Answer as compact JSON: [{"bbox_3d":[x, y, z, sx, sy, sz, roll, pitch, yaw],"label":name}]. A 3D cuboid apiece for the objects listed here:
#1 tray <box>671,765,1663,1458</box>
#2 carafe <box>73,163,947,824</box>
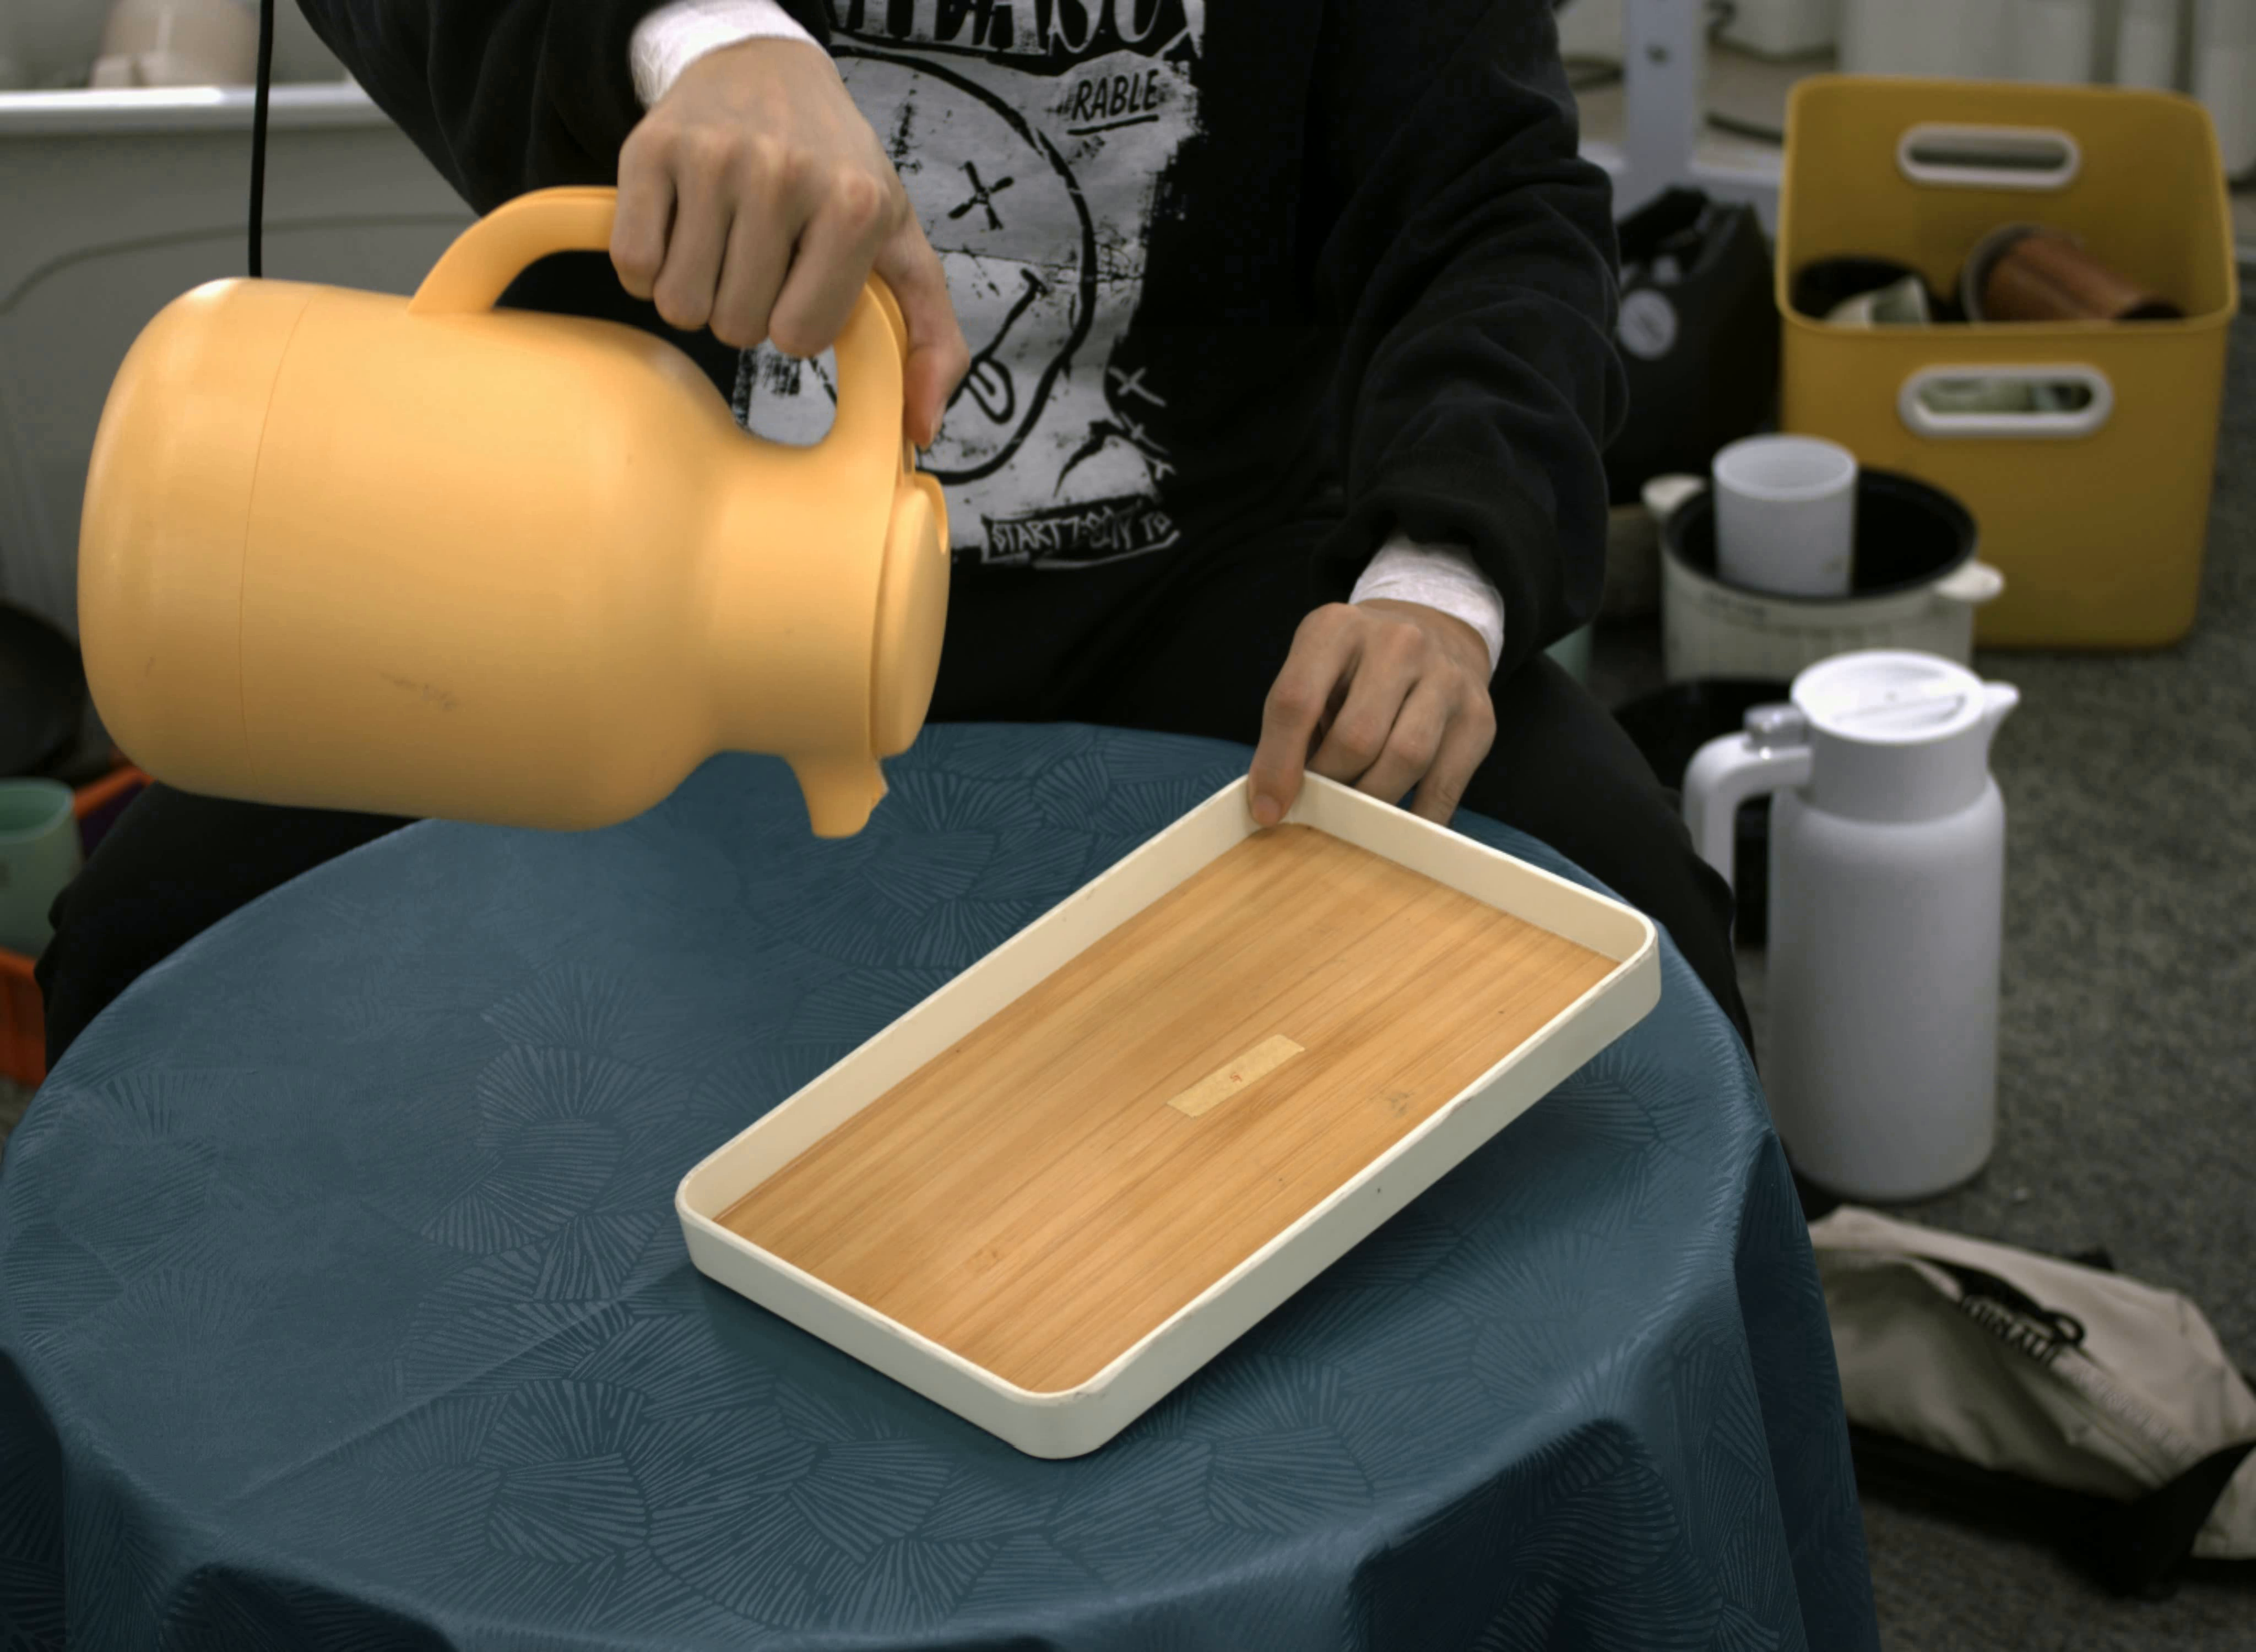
[{"bbox_3d":[0.015,0.087,1.848,0.191,0.027,0.304,24,45,39],"label":"tray"},{"bbox_3d":[-0.185,-0.106,1.750,0.259,0.202,0.164,8,9,3],"label":"carafe"}]
